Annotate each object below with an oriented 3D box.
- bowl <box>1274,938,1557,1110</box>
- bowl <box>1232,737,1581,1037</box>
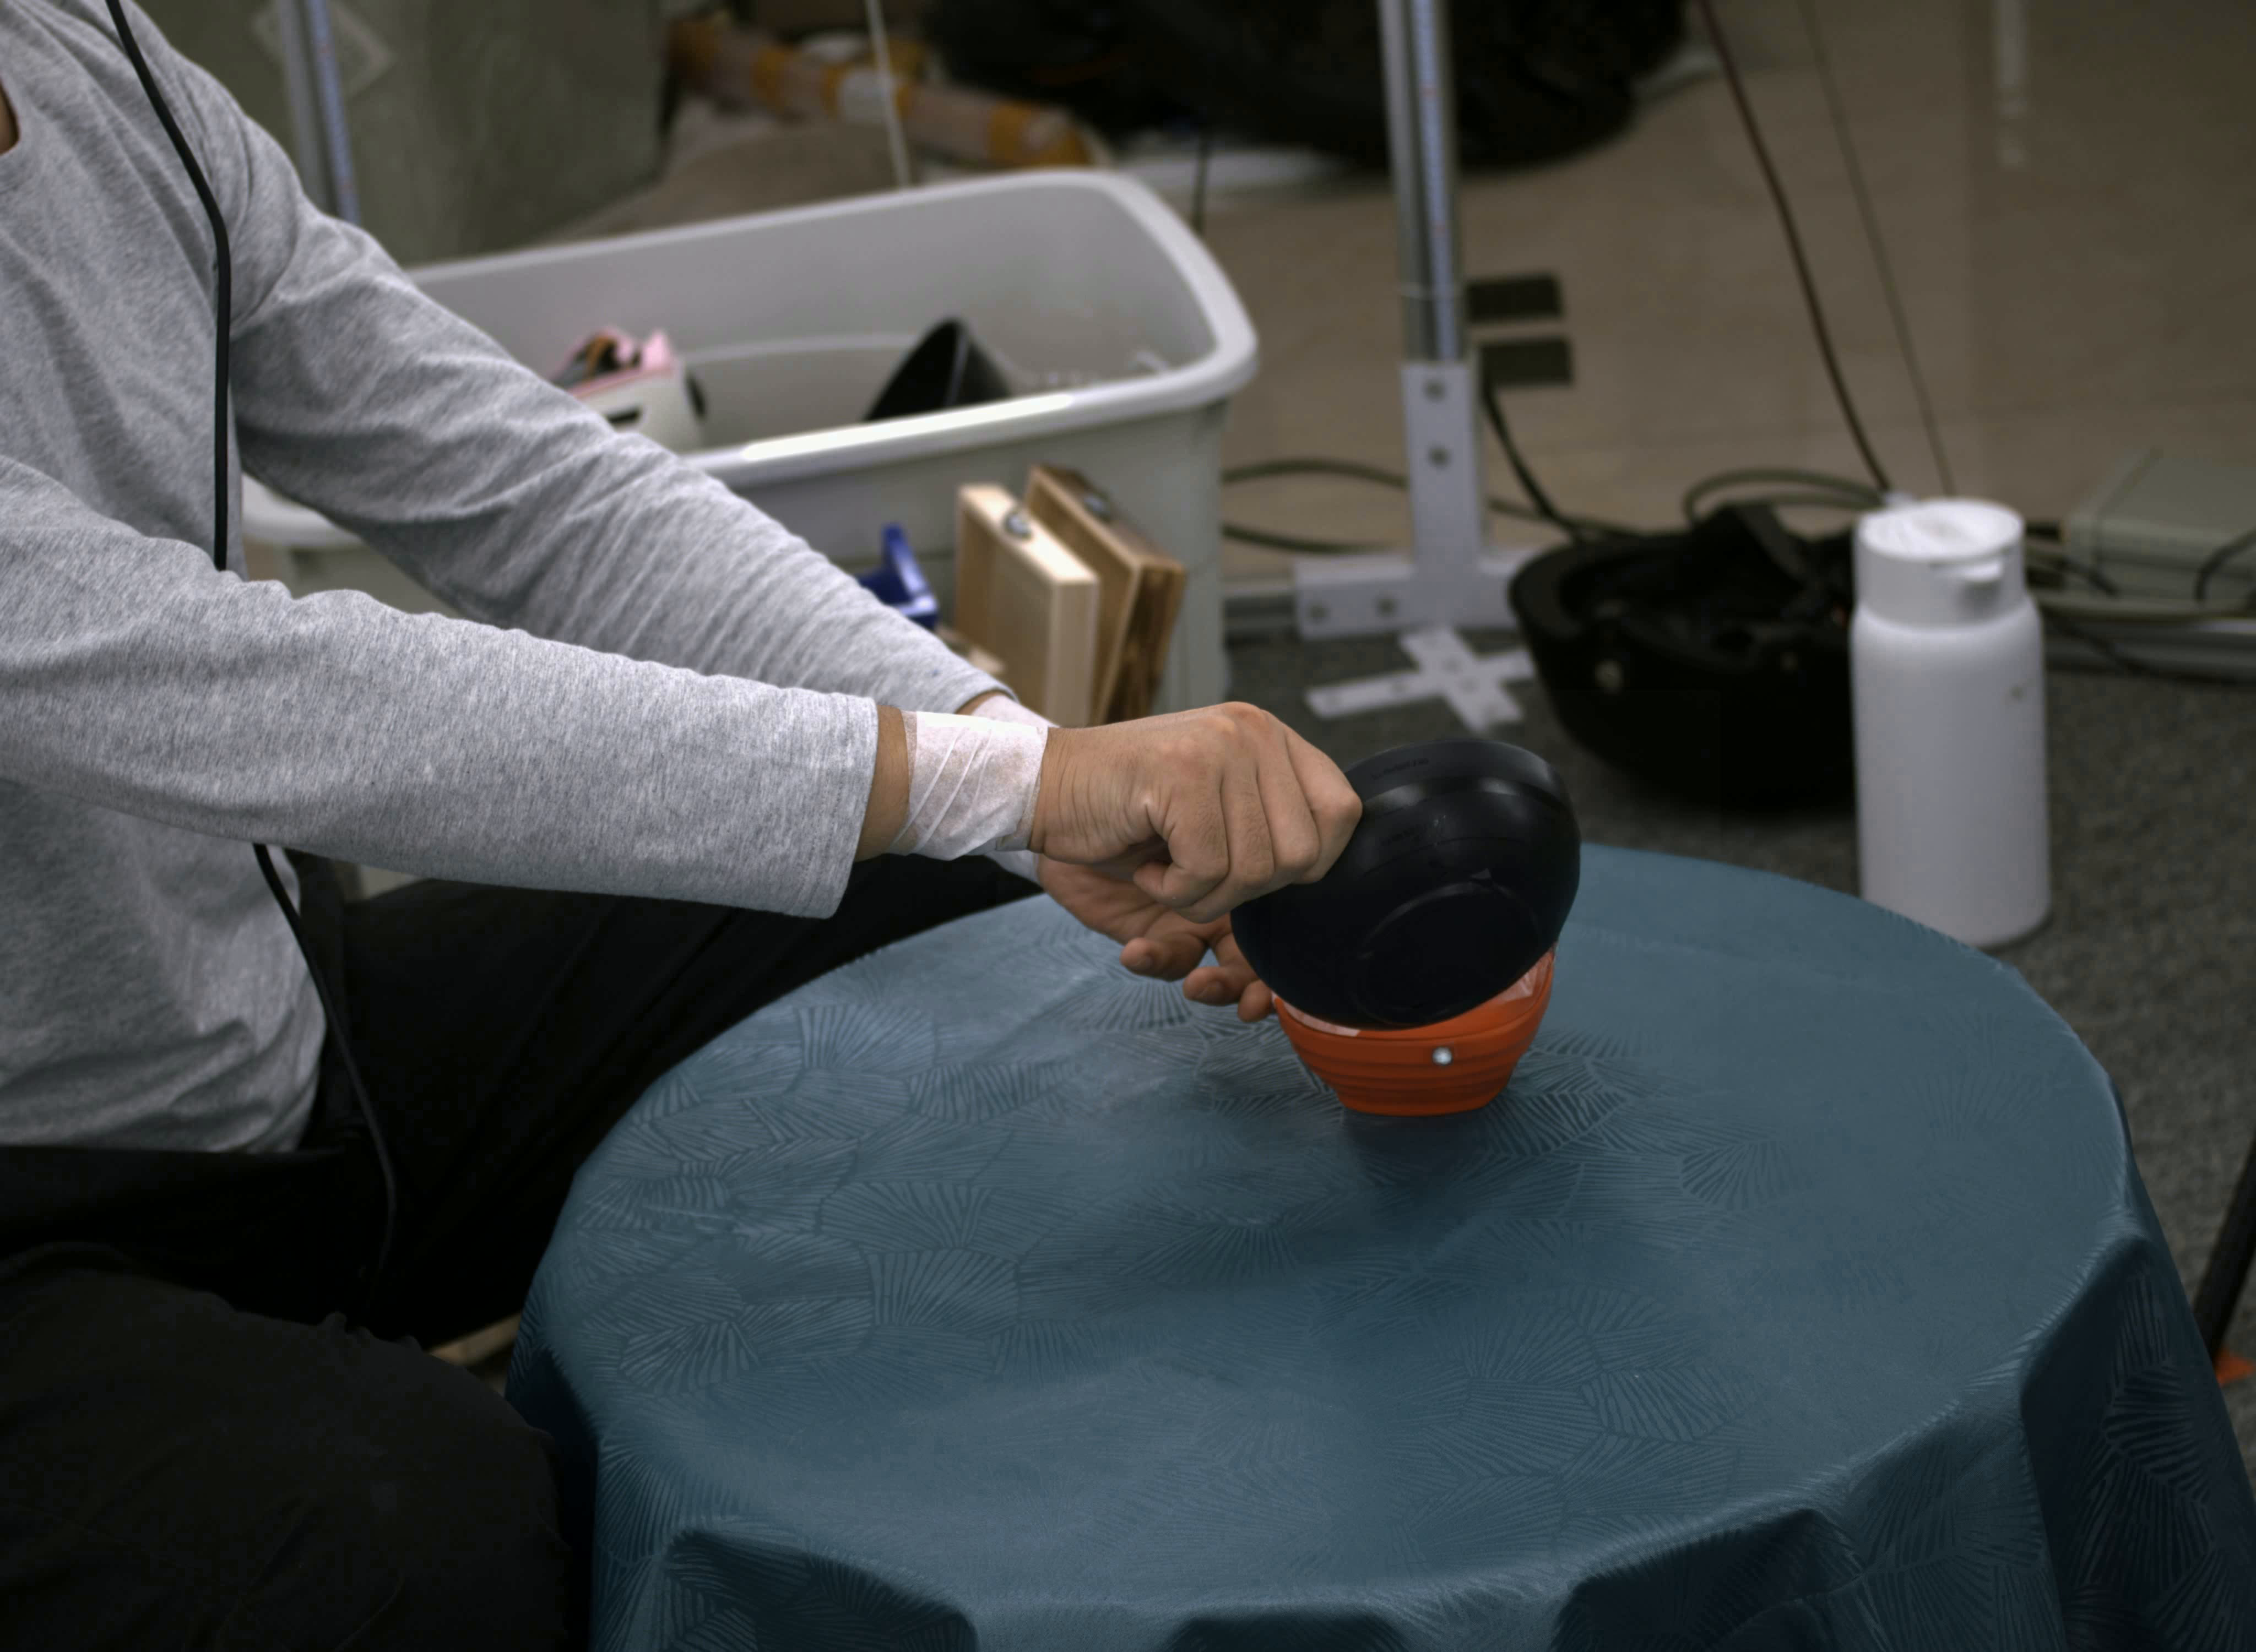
[{"bbox_3d":[0.111,0.071,2.198,0.119,0.052,0.117,-2,32,1],"label":"bowl"},{"bbox_3d":[0.111,0.033,2.115,0.139,0.143,0.049,-14,50,-17],"label":"bowl"}]
